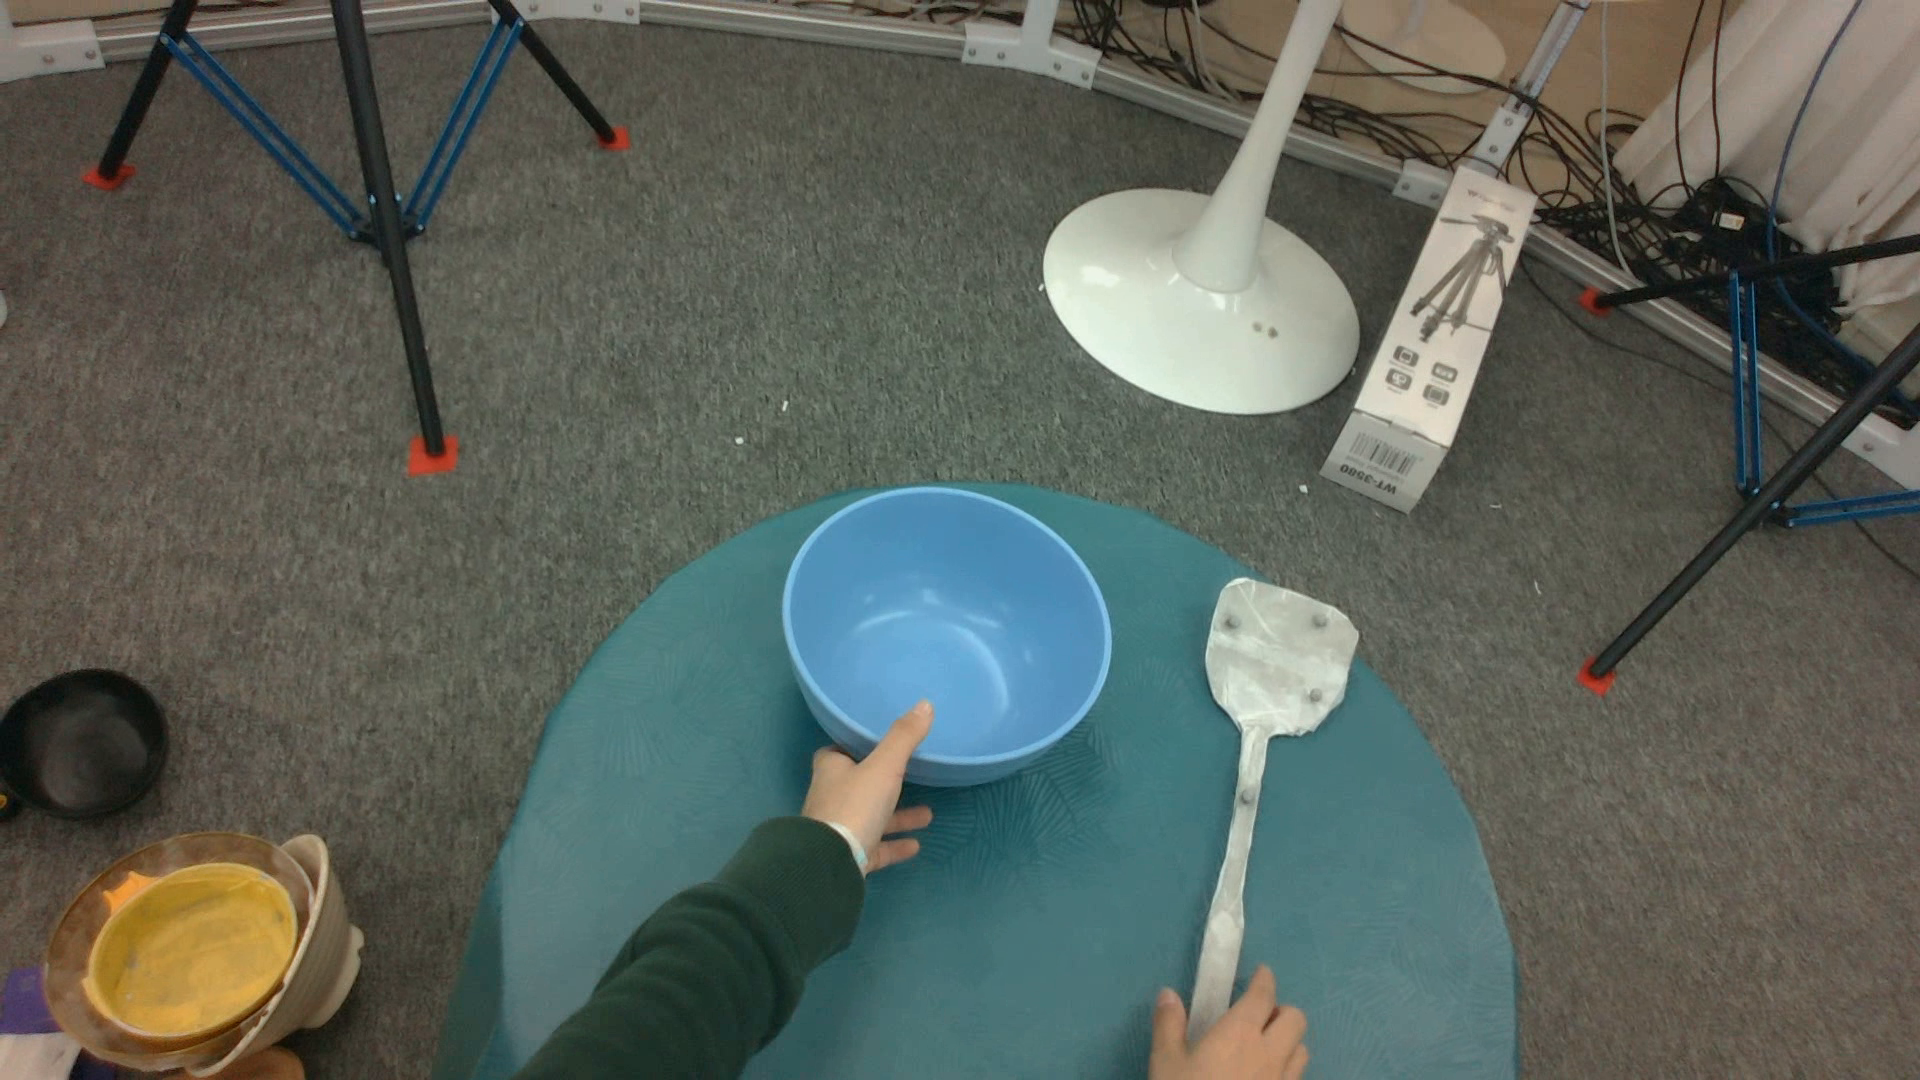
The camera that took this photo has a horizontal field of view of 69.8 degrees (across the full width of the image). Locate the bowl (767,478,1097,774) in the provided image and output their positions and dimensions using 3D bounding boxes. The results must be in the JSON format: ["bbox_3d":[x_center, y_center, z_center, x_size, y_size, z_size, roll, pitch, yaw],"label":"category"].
[{"bbox_3d":[-0.023,0.066,0.838,0.196,0.095,0.197,8,49,-9],"label":"bowl"}]

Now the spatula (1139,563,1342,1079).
[{"bbox_3d":[0.162,0.165,0.842,0.099,0.044,0.367,22,49,1],"label":"spatula"}]
